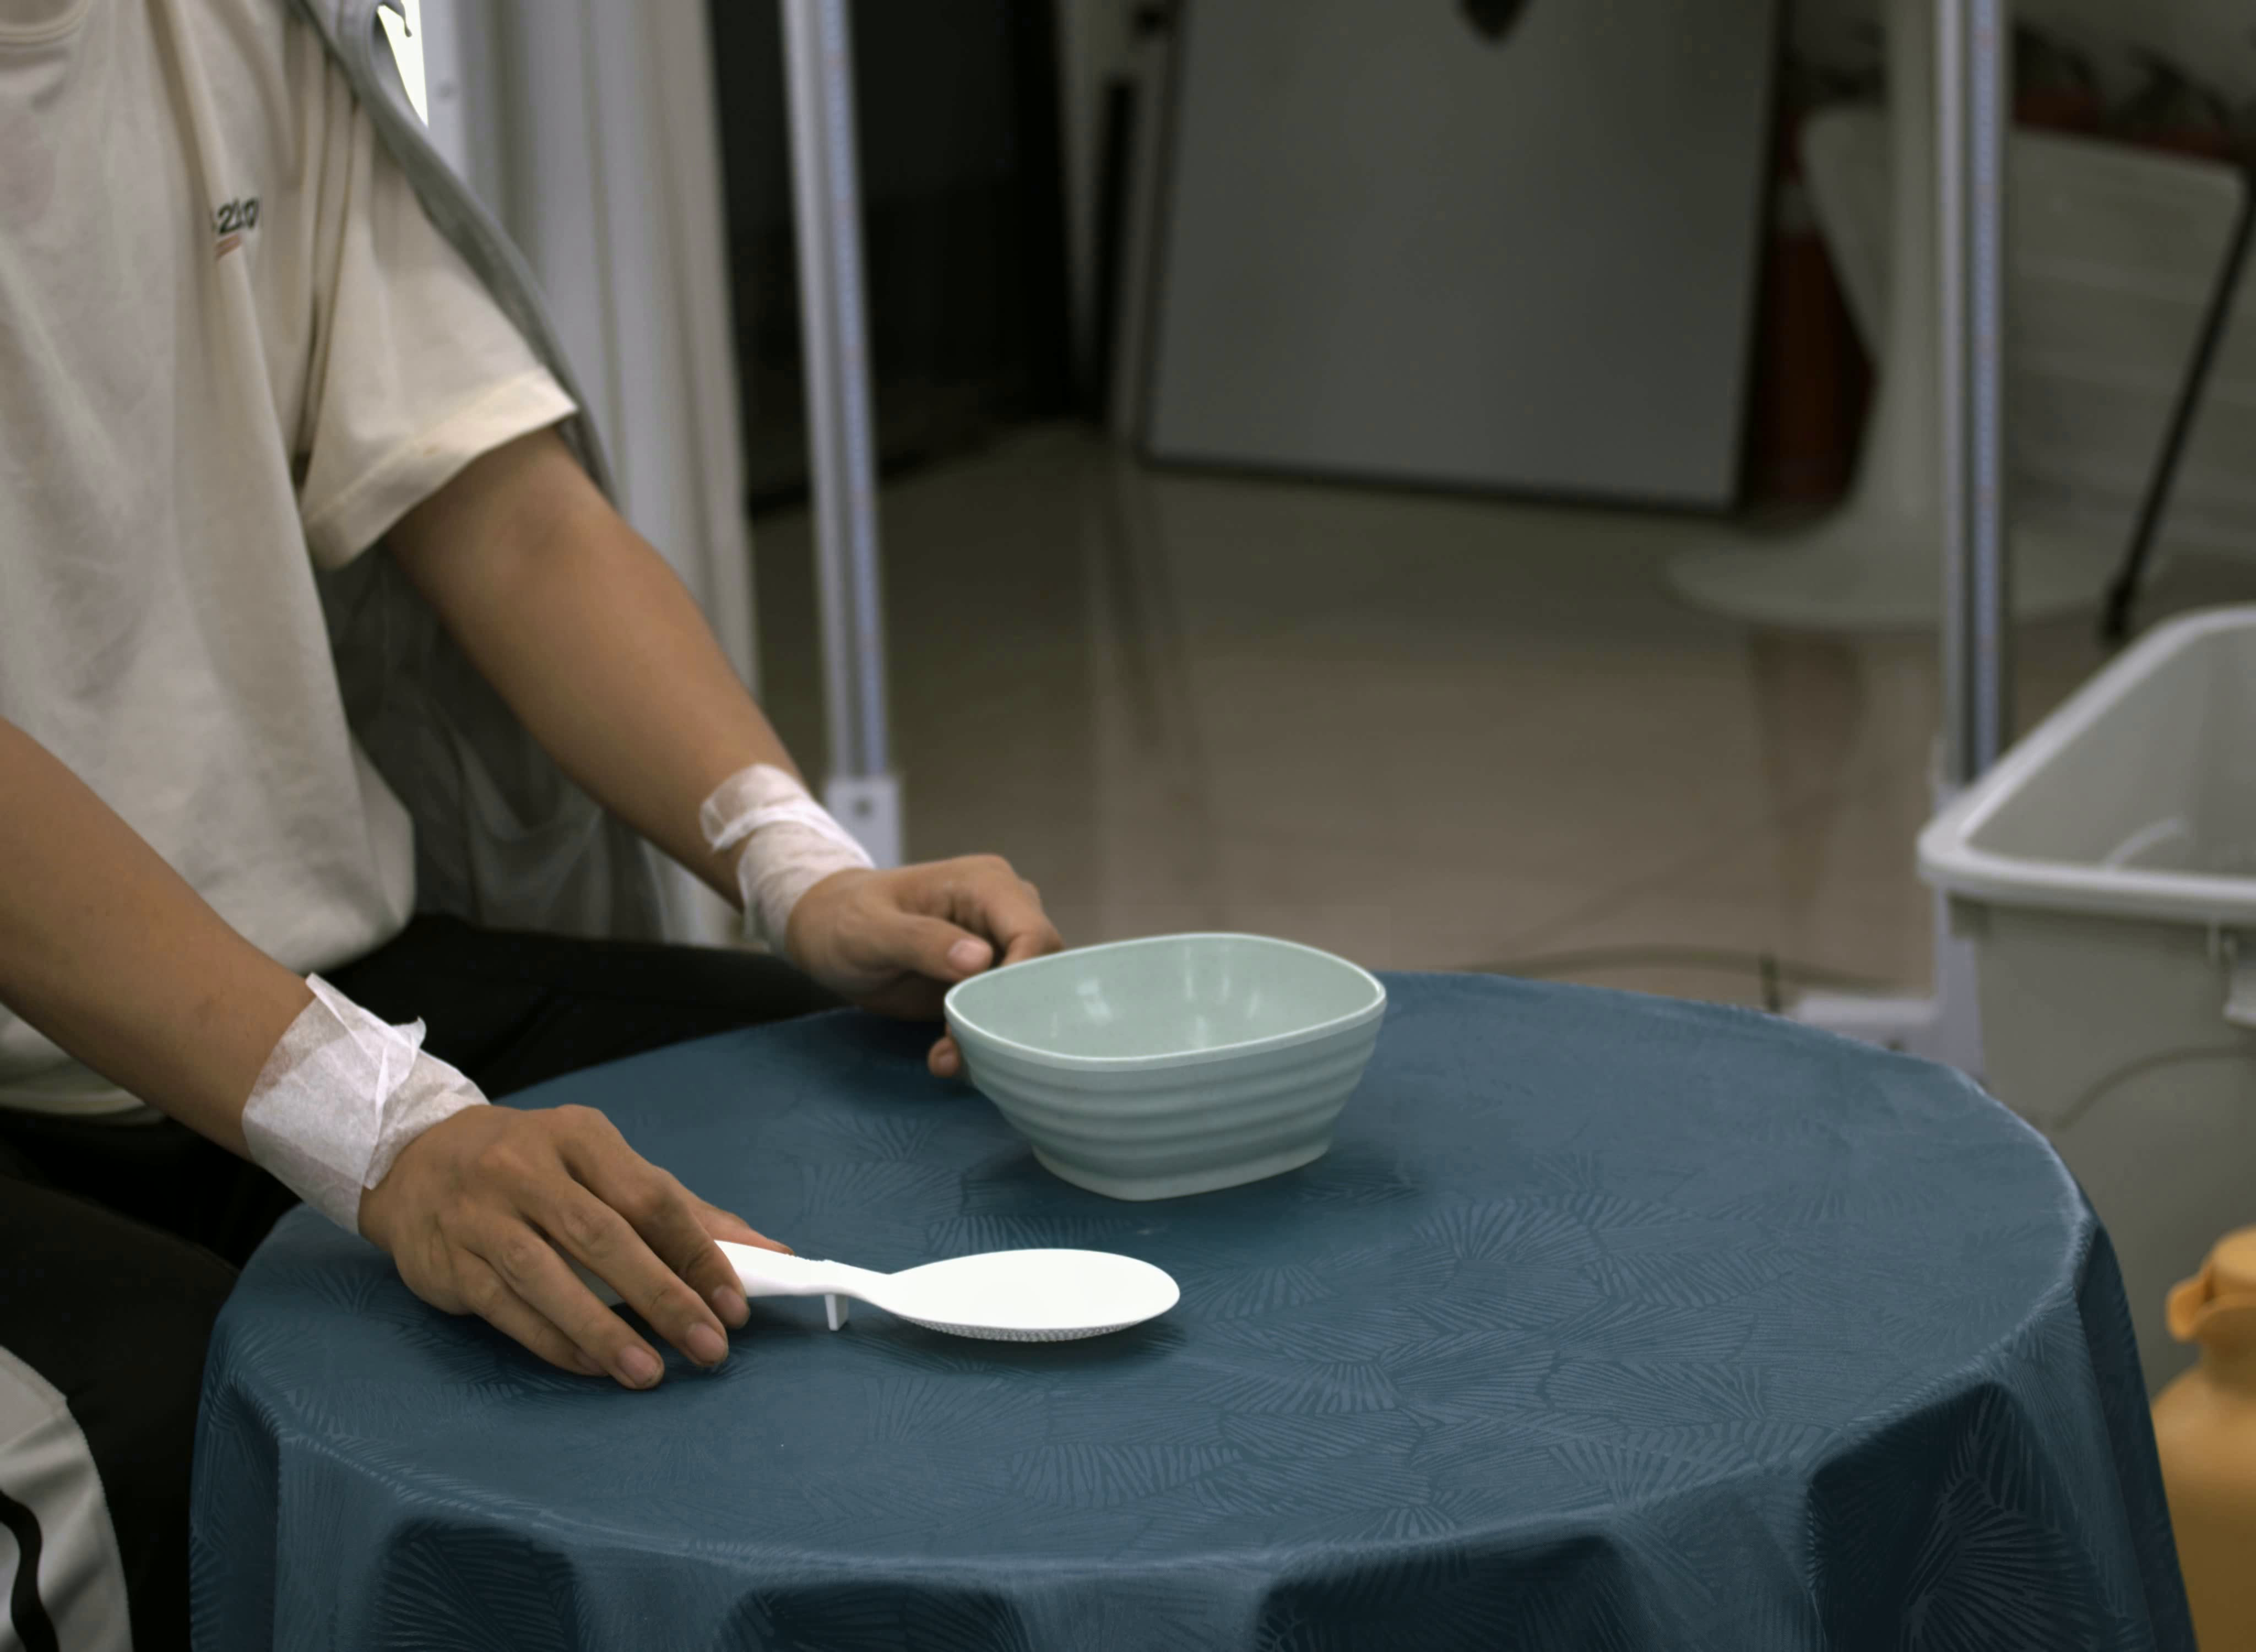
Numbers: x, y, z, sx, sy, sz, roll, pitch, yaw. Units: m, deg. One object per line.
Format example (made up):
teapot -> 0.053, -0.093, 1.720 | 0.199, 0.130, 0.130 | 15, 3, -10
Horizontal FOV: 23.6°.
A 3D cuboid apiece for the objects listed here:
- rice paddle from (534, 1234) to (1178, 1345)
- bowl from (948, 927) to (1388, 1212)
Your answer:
rice paddle -> -0.083, 0.141, 1.657 | 0.204, 0.030, 0.068 | 0, 16, 16
bowl -> 0.014, 0.084, 1.801 | 0.149, 0.059, 0.152 | -4, 16, 0
